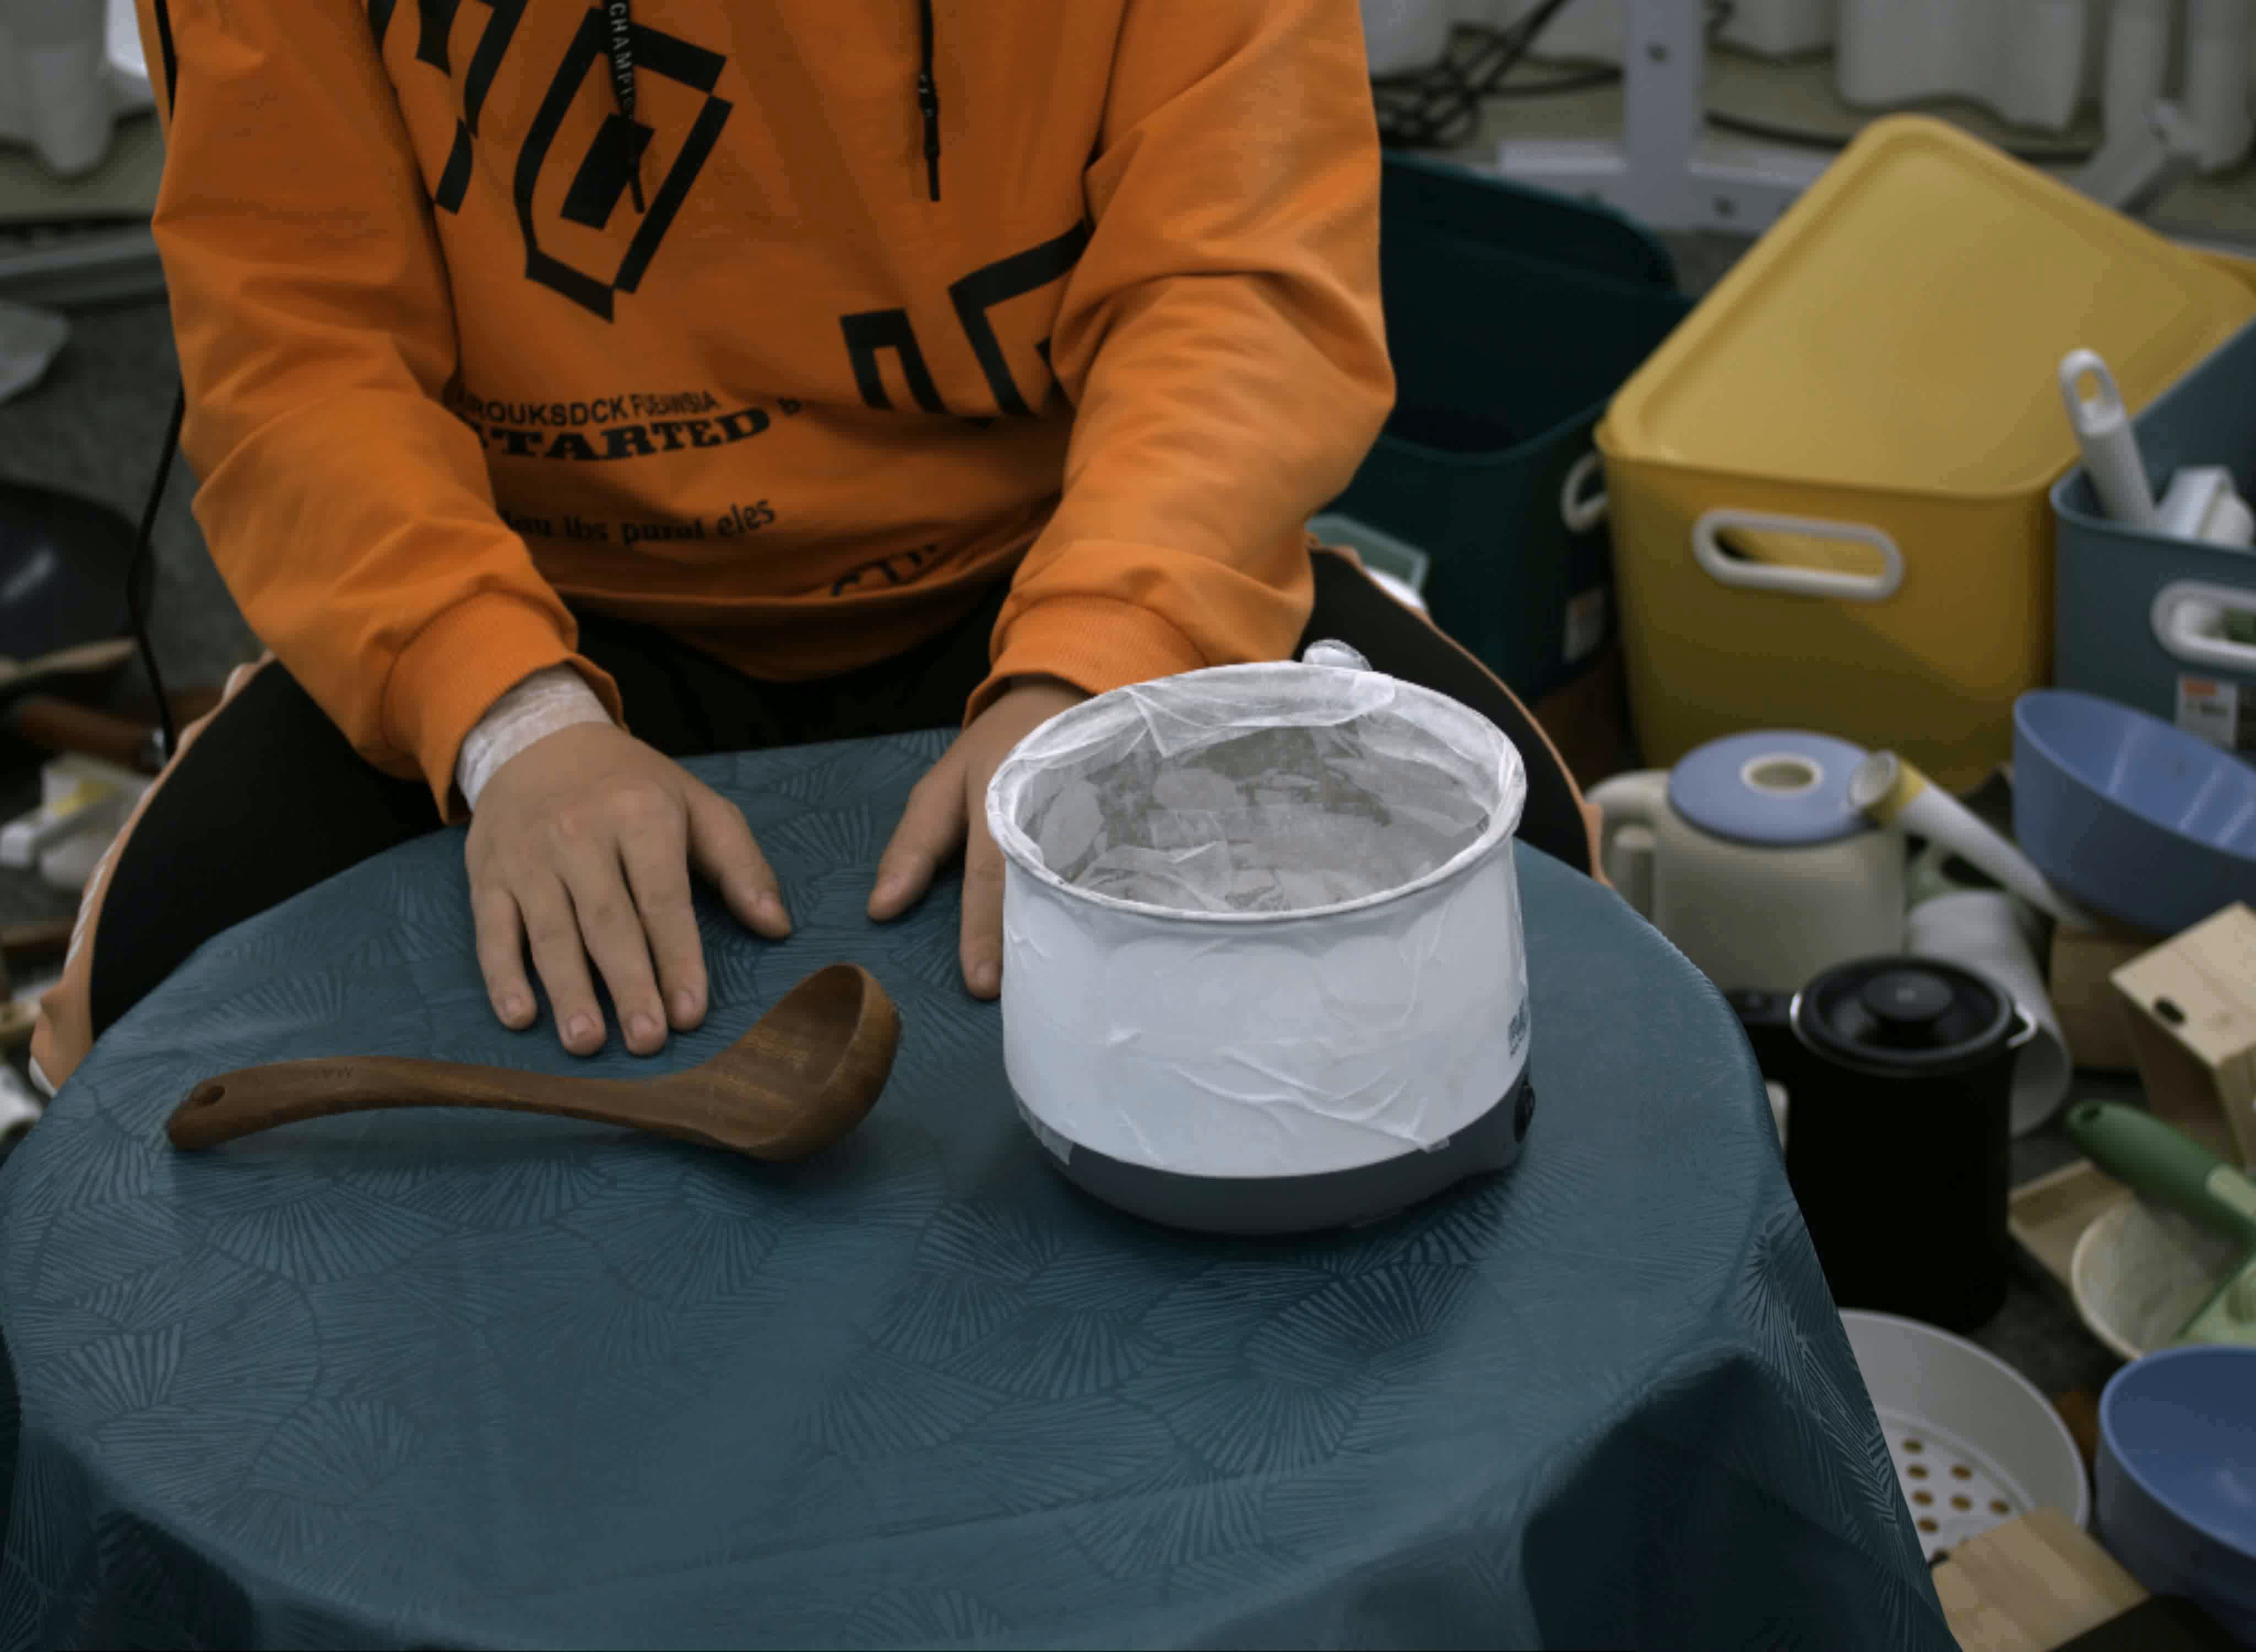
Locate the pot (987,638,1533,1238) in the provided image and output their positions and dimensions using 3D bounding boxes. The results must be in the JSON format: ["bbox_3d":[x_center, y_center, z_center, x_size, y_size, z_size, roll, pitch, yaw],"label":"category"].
[{"bbox_3d":[0.052,0.030,1.886,0.177,0.135,0.238,4,28,14],"label":"pot"}]

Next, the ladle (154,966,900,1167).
[{"bbox_3d":[-0.204,0.082,1.891,0.259,0.064,0.078,0,35,5],"label":"ladle"}]
